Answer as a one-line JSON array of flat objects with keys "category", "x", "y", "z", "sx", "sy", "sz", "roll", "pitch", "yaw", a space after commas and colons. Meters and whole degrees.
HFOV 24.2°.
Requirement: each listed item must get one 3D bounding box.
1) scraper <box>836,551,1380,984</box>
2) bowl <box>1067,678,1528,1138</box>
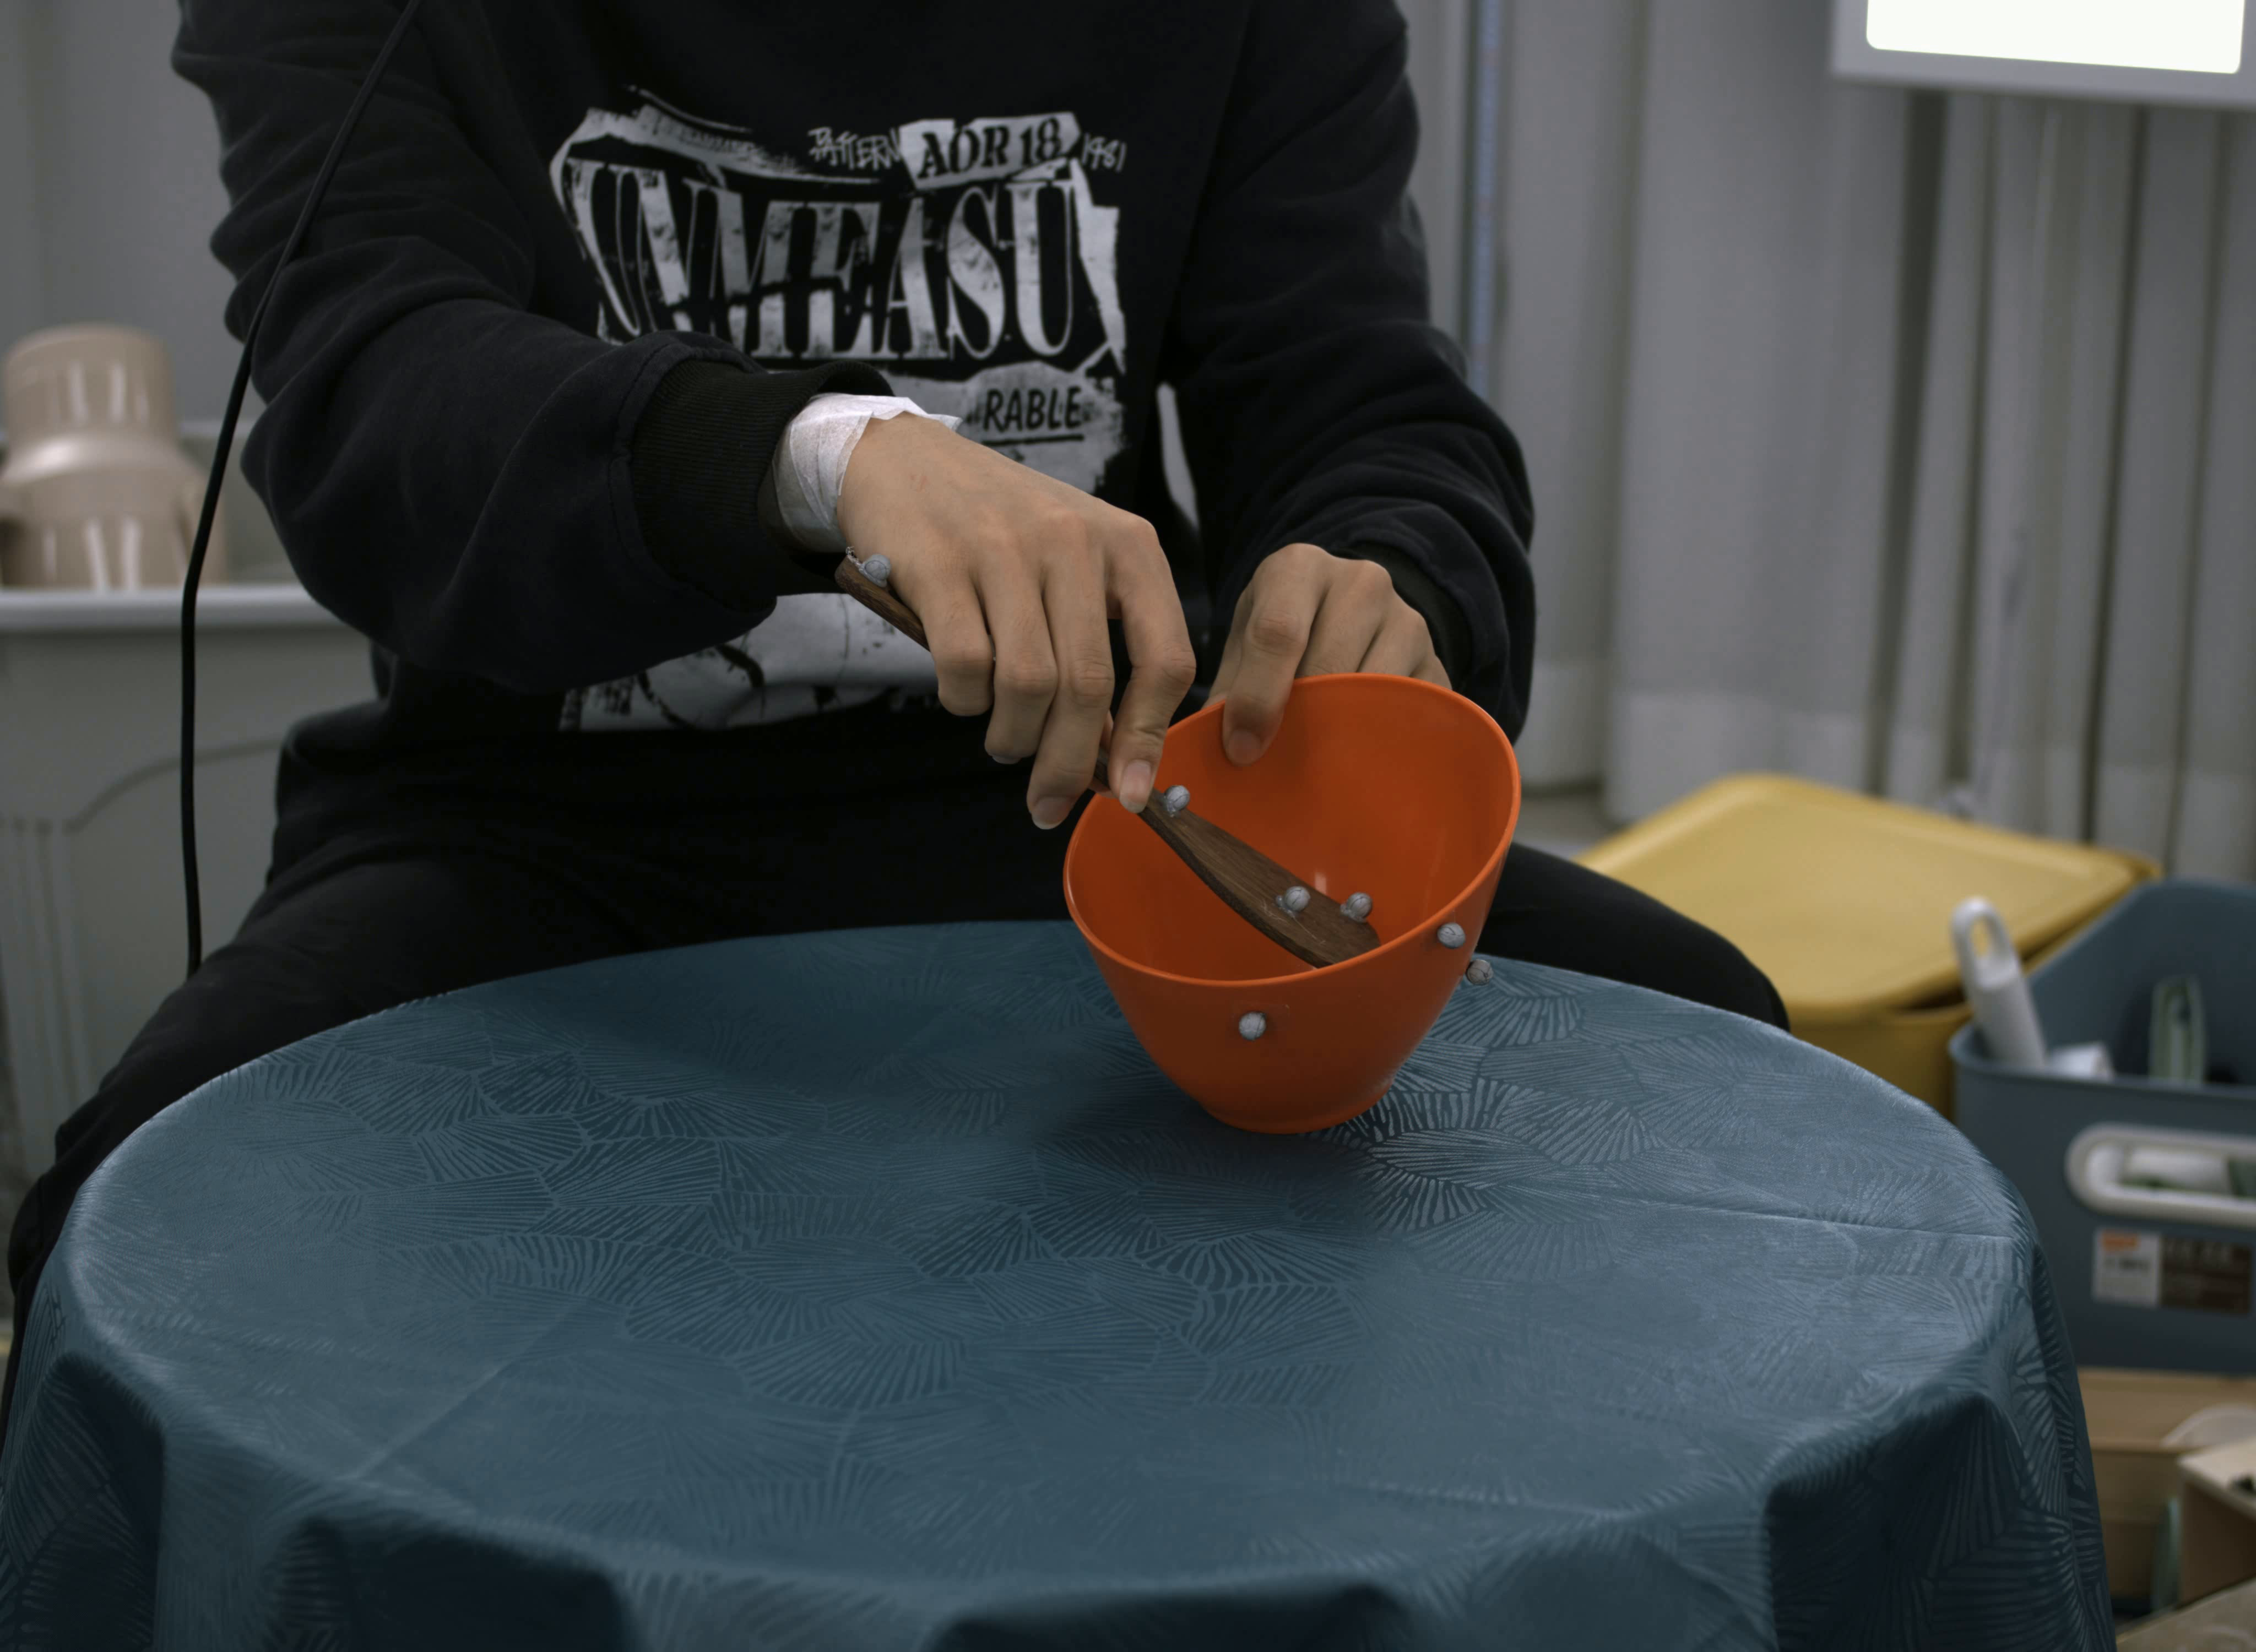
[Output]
[{"category": "scraper", "x": -0.006, "y": -0.019, "z": 1.633, "sx": 0.212, "sy": 0.011, "sz": 0.075, "roll": 38, "pitch": 13, "yaw": -8}, {"category": "bowl", "x": 0.057, "y": 0.034, "z": 1.681, "sx": 0.147, "sy": 0.106, "sz": 0.147, "roll": -4, "pitch": 35, "yaw": 3}]
